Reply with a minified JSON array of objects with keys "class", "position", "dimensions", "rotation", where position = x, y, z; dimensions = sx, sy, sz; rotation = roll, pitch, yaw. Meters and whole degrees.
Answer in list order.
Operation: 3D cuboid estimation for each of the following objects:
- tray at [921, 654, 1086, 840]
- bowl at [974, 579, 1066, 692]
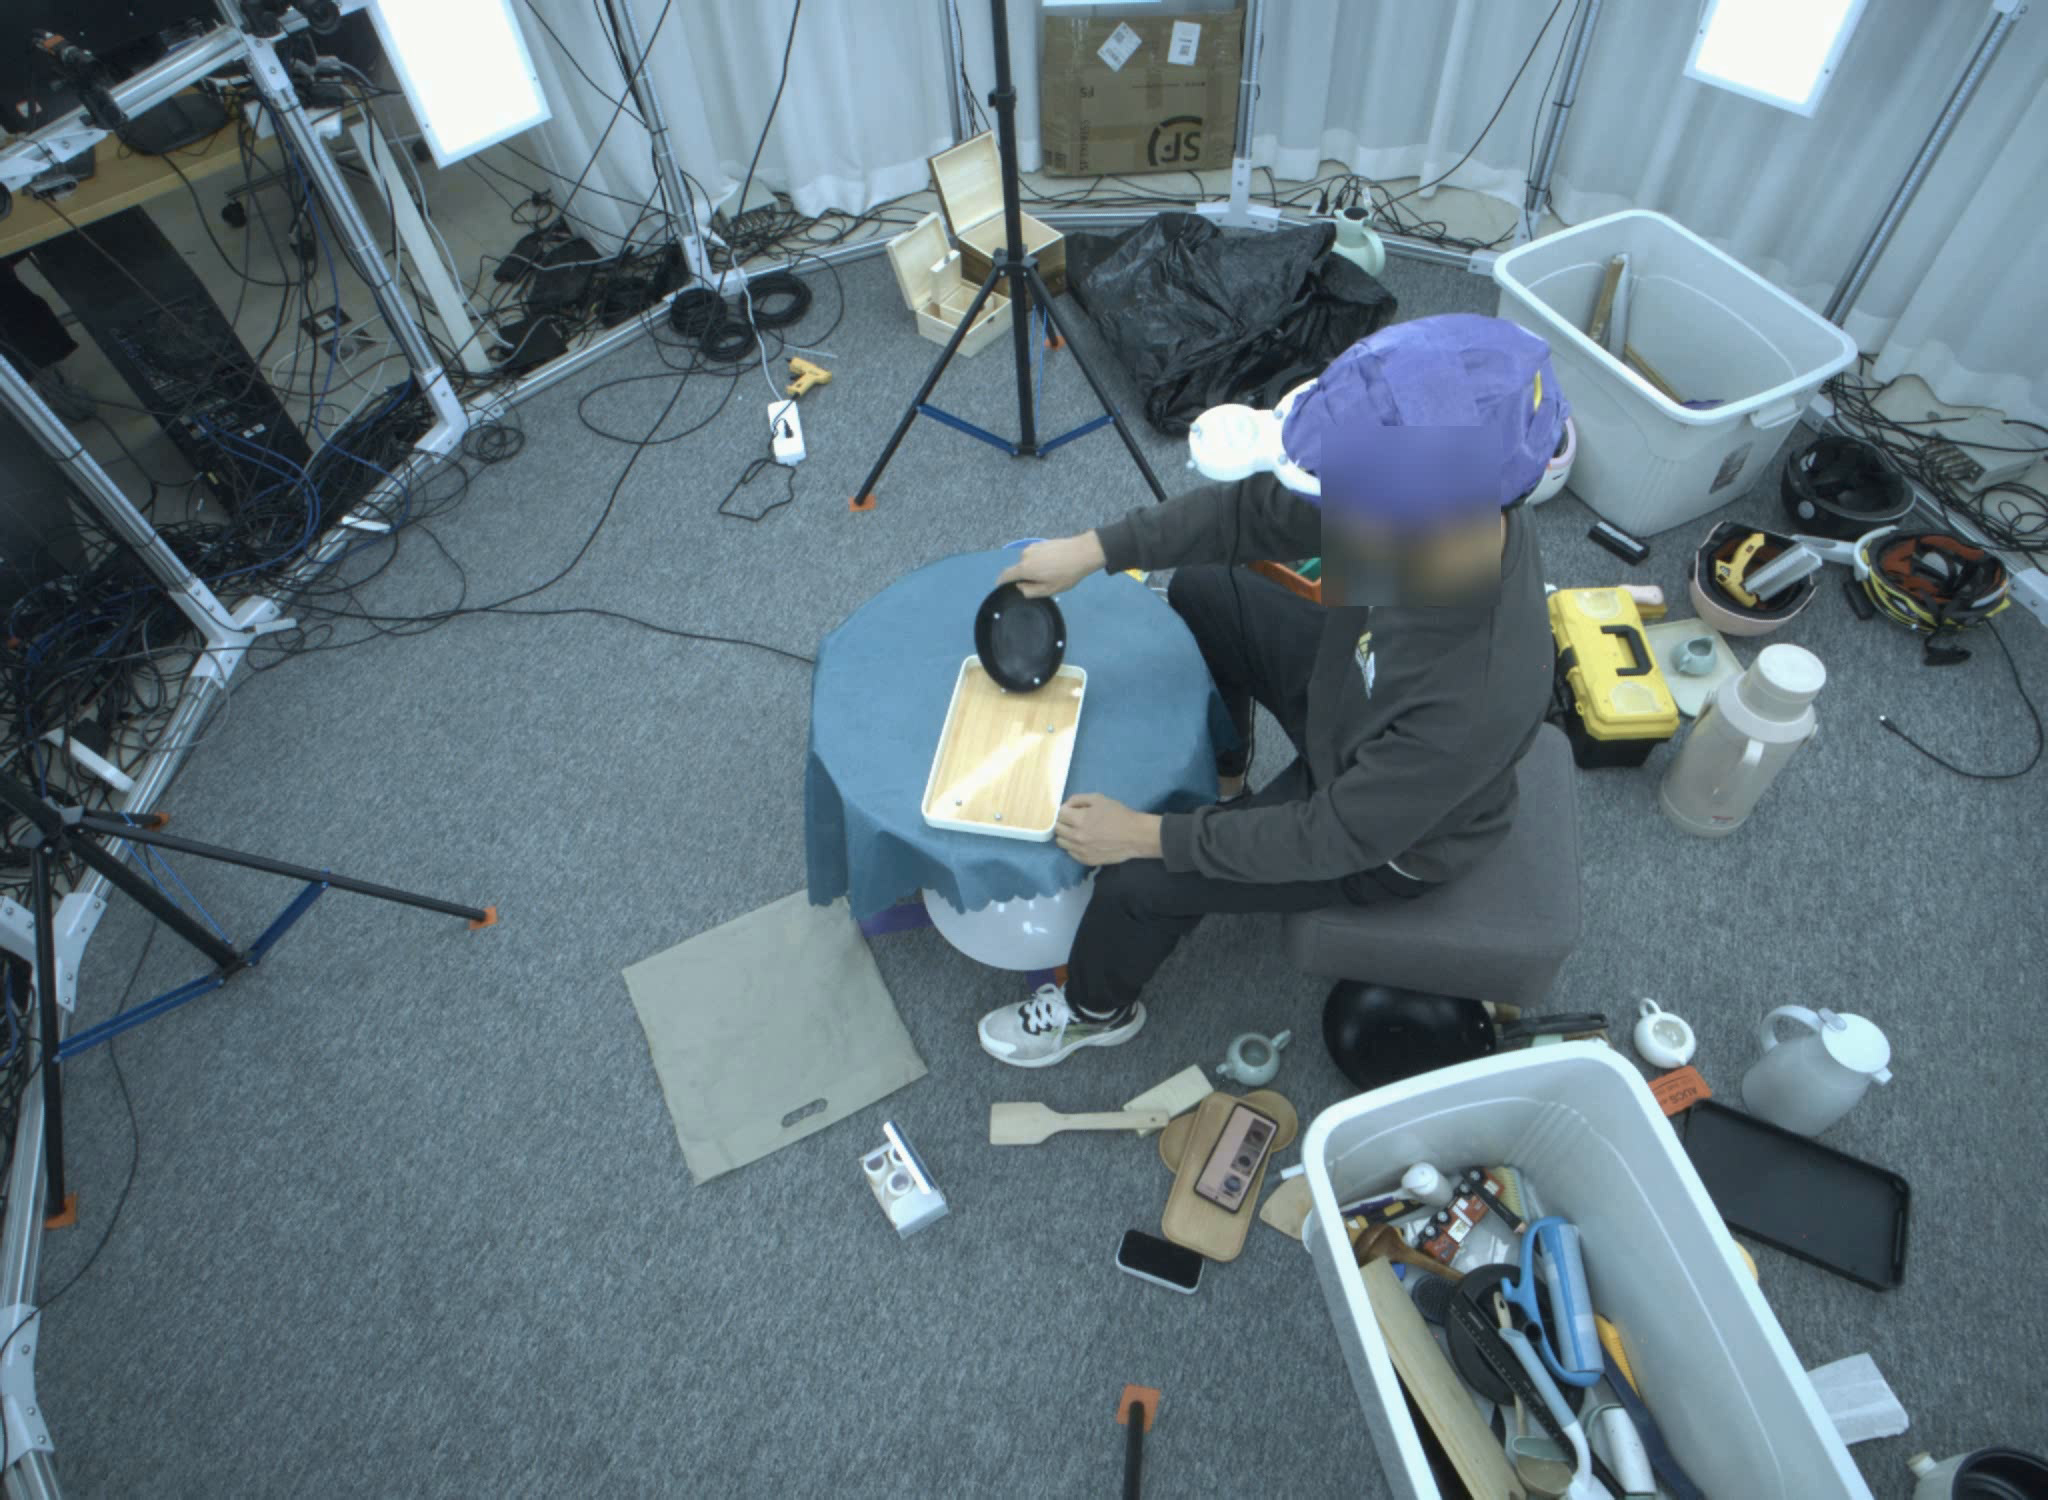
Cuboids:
[{"class":"tray","position":[-0.025,-0.010,1.777],"dimensions":[0.190,0.028,0.298],"rotation":[8,55,7]},{"class":"bowl","position":[0.000,-0.171,1.816],"dimensions":[0.136,0.171,0.067],"rotation":[2,18,10]}]
